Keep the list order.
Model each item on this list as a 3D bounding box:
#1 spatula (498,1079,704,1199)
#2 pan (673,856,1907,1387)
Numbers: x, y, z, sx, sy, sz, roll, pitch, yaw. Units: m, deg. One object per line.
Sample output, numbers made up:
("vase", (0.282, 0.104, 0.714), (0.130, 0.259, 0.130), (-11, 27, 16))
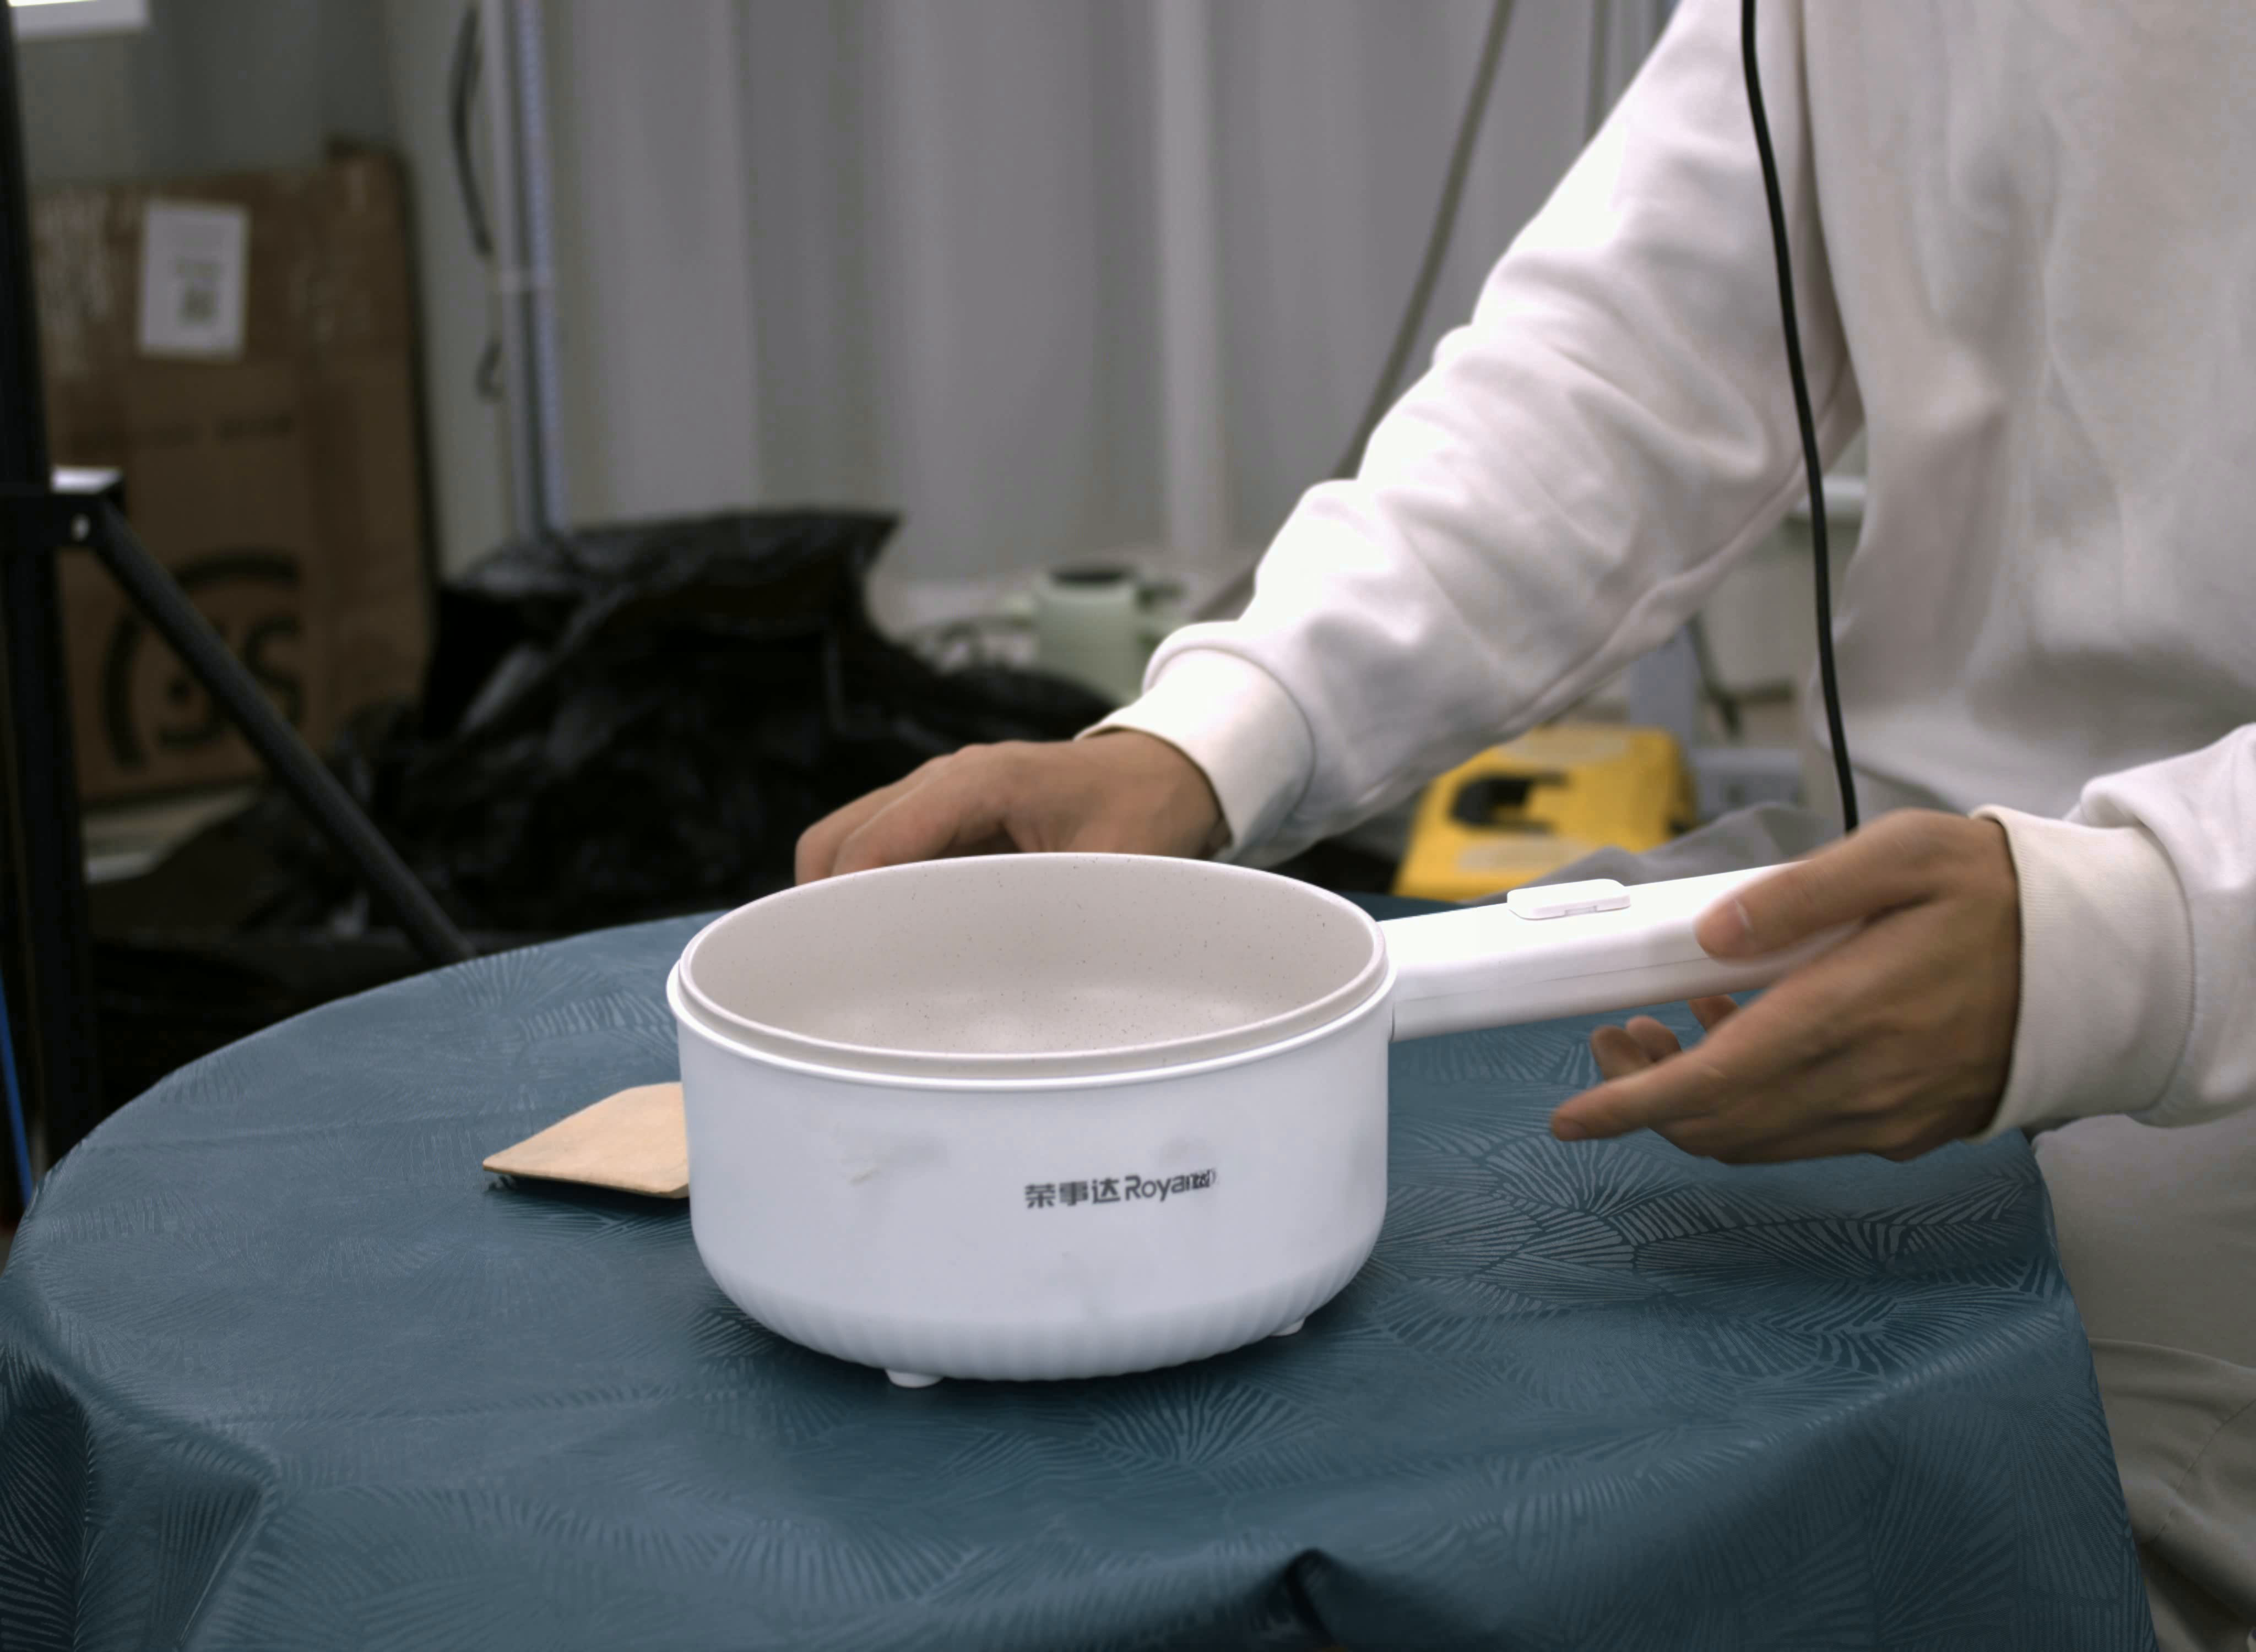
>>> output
("spatula", (-0.094, 0.070, 1.694), (0.073, 0.010, 0.288), (5, 17, 28))
("pan", (0.049, 0.075, 1.489), (0.349, 0.102, 0.204), (-6, 15, -15))
